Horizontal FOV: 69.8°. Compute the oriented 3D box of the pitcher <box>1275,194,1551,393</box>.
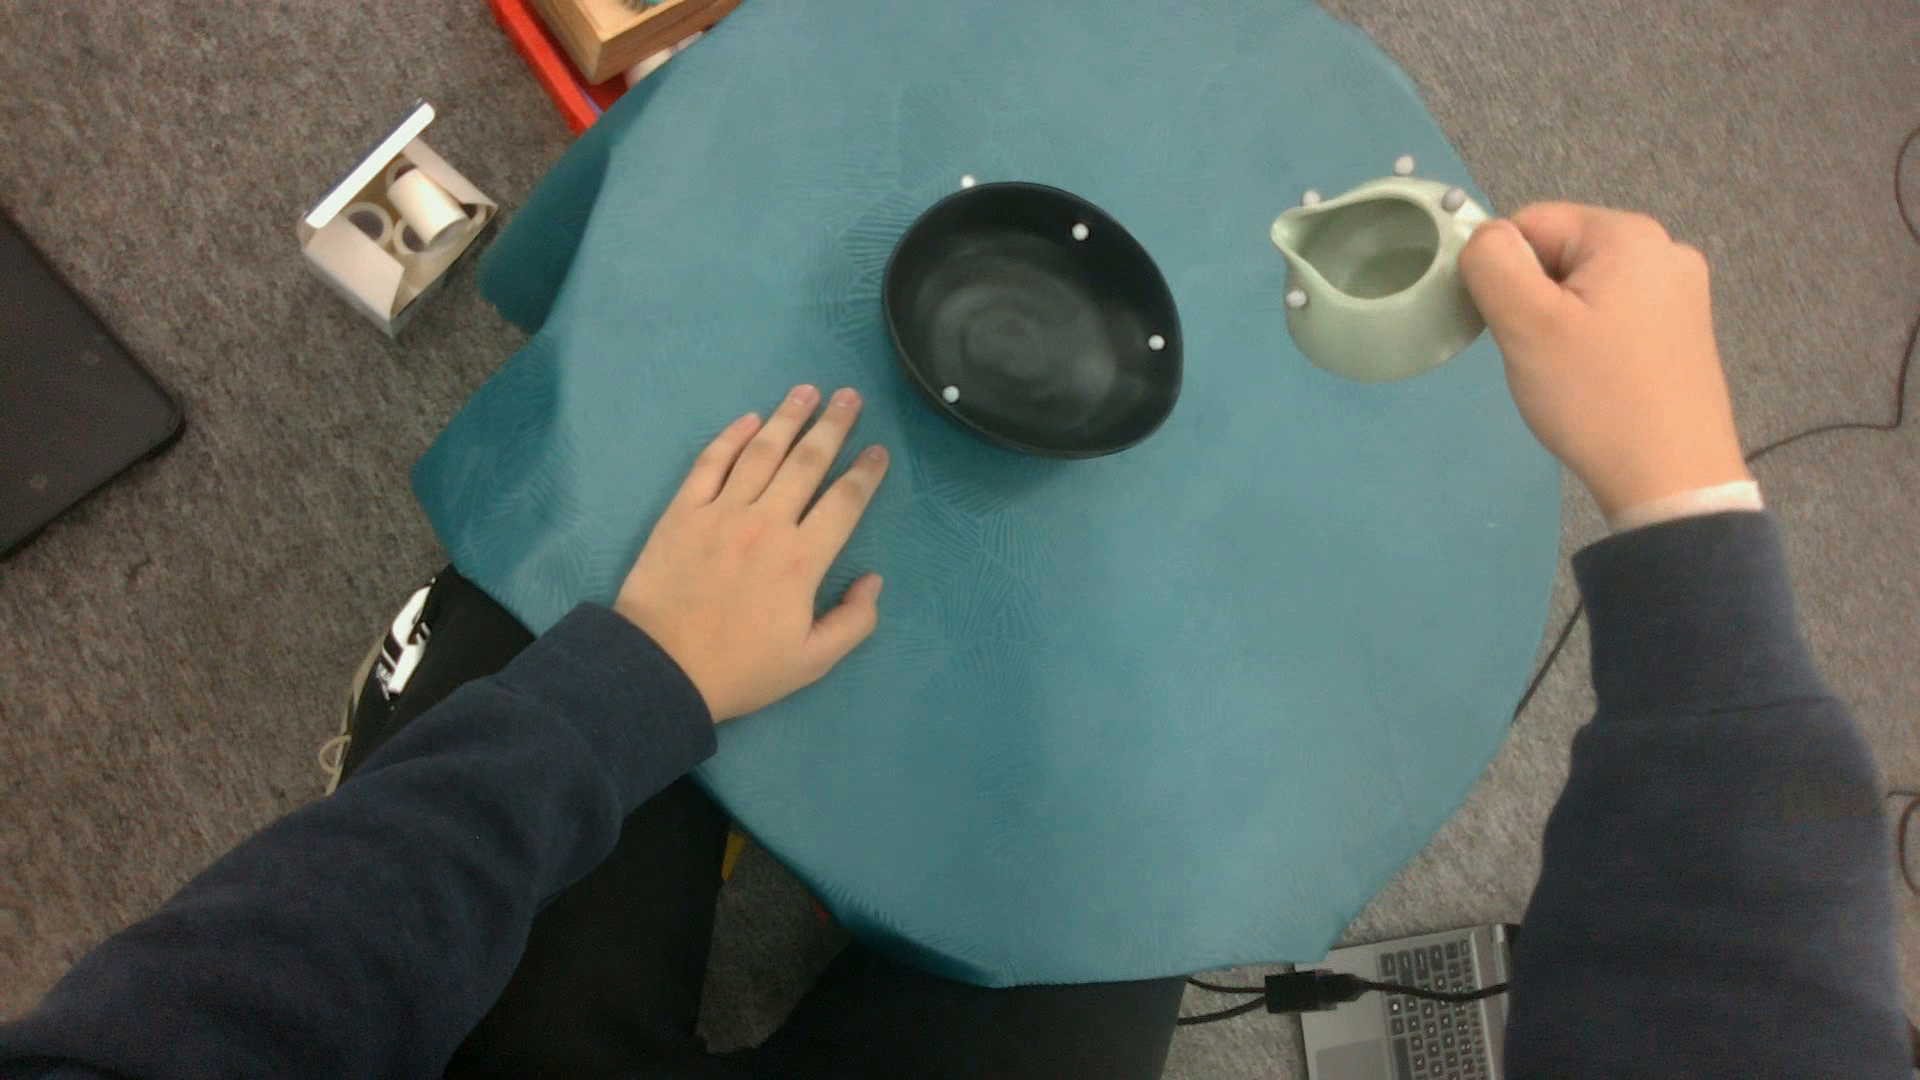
[{"bbox_3d":[0.183,-0.101,0.557,0.108,0.060,0.086,17,80,28],"label":"pitcher"}]

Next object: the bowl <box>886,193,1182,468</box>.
[{"bbox_3d":[0.036,-0.103,0.723,0.170,0.066,0.137,18,77,-16],"label":"bowl"}]
